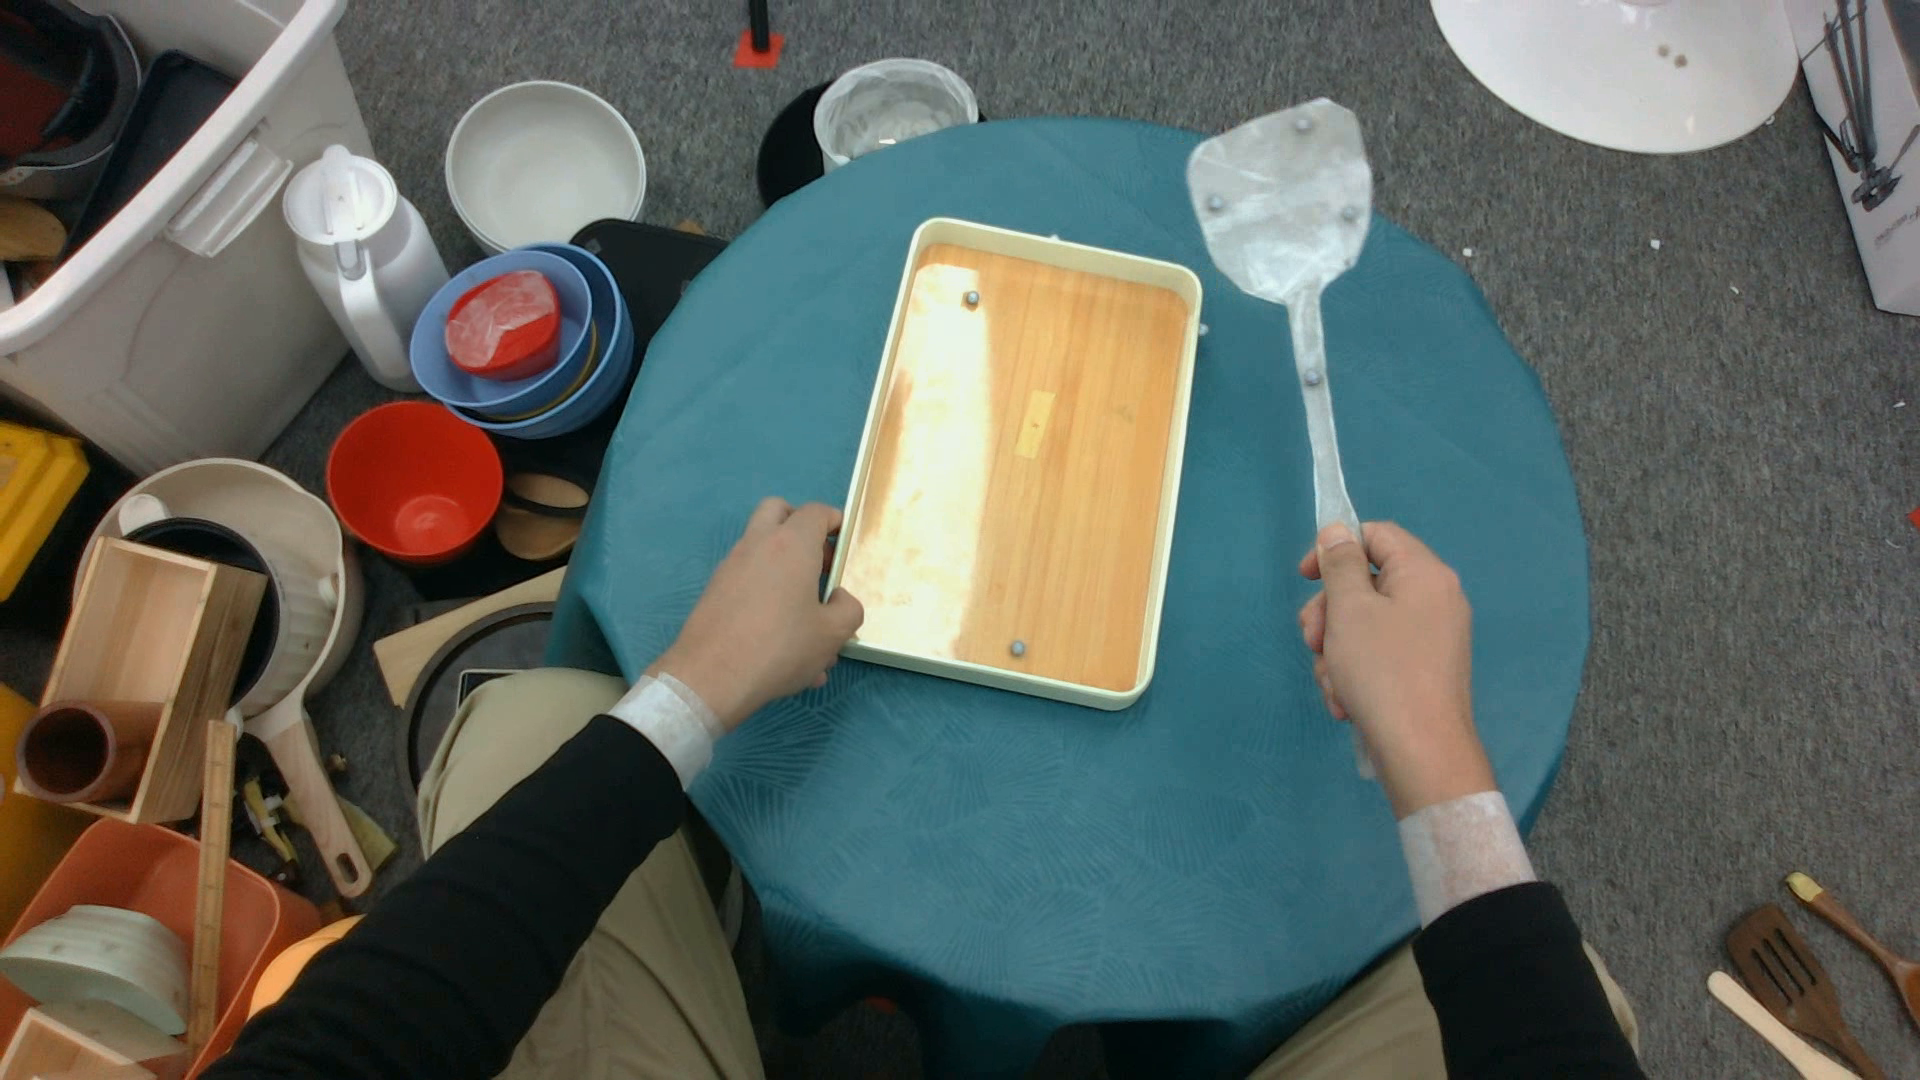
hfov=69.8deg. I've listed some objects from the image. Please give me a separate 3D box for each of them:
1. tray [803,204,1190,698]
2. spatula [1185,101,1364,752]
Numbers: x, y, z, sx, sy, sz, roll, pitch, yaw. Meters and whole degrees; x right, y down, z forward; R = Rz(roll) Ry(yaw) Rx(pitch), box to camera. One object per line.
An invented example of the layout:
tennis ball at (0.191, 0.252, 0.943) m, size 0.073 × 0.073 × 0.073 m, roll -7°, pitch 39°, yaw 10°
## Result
tray at (0.029, -0.063, 0.833) m, size 0.191 × 0.027 × 0.301 m, roll 12°, pitch 65°, yaw 0°
spatula at (0.183, -0.071, 0.734) m, size 0.098 × 0.045 × 0.366 m, roll -9°, pitch 66°, yaw 19°
